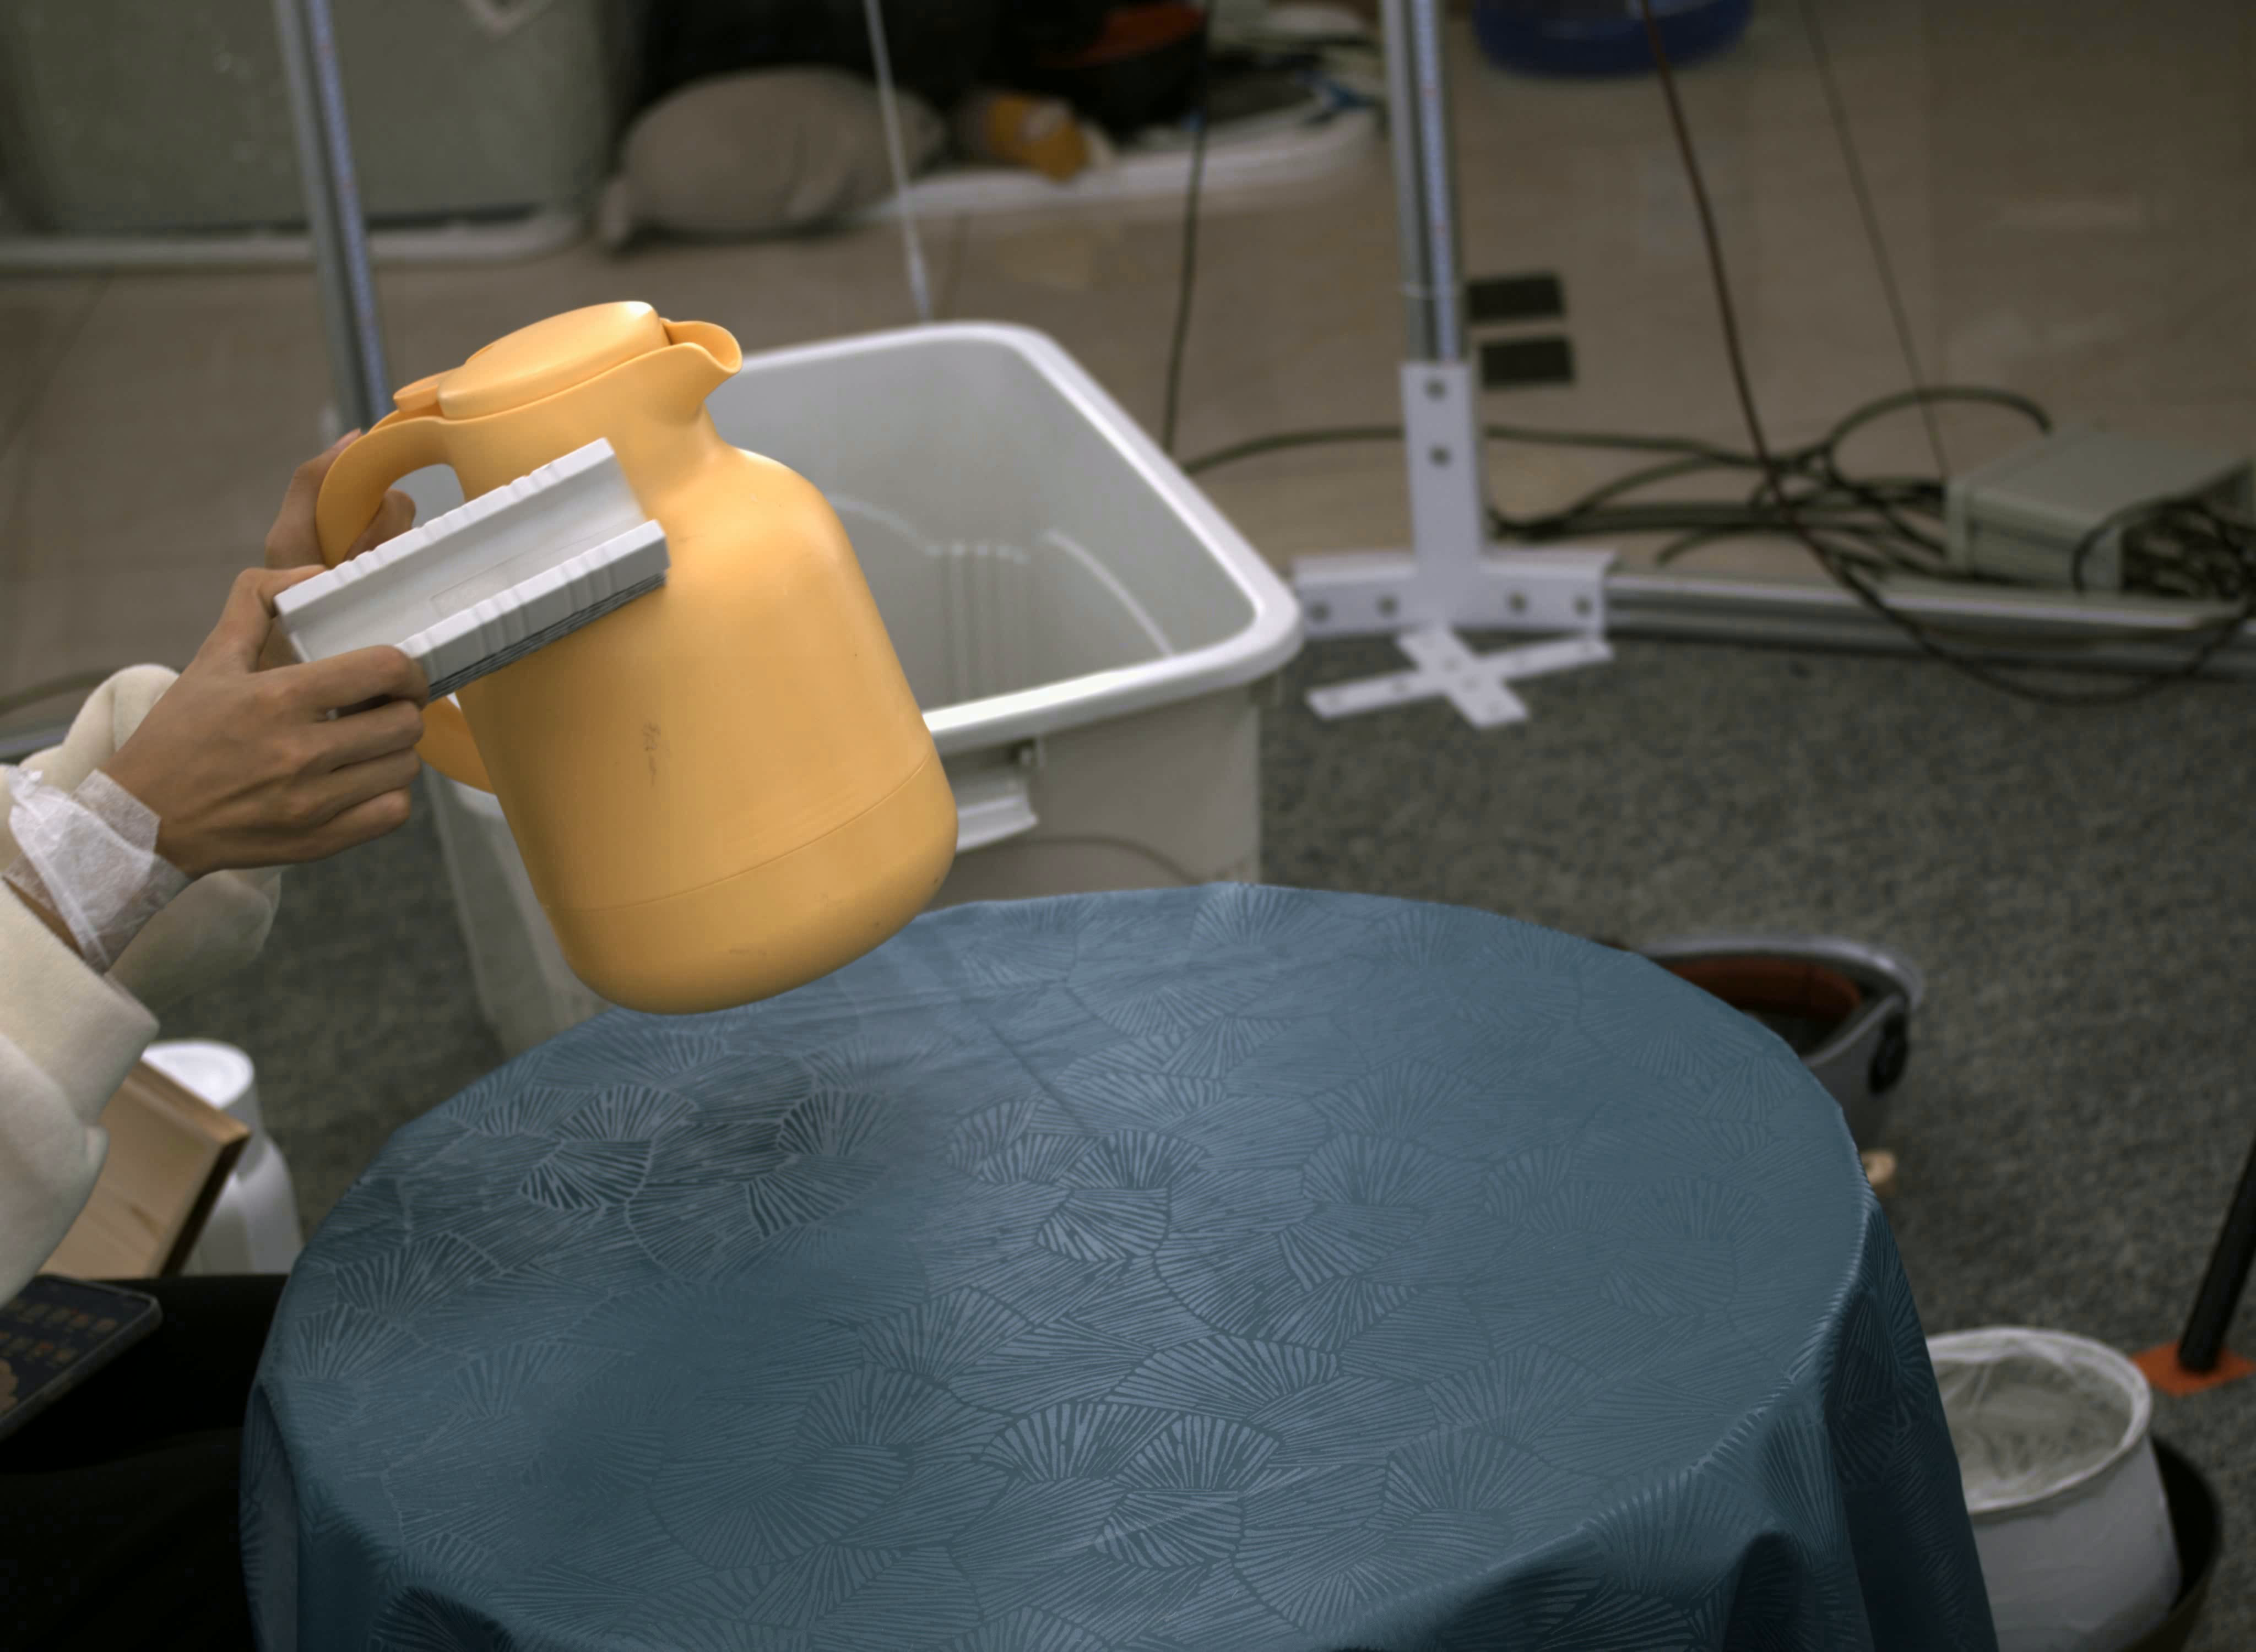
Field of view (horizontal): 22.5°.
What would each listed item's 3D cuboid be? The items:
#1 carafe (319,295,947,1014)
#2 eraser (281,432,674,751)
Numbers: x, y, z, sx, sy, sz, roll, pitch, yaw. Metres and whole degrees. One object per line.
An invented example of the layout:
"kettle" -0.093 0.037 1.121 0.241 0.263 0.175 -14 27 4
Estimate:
"carafe" -0.193 -0.066 2.148 0.202 0.263 0.161 -10 18 26
"eraser" -0.233 -0.084 2.033 0.133 0.047 0.049 -30 73 -14
